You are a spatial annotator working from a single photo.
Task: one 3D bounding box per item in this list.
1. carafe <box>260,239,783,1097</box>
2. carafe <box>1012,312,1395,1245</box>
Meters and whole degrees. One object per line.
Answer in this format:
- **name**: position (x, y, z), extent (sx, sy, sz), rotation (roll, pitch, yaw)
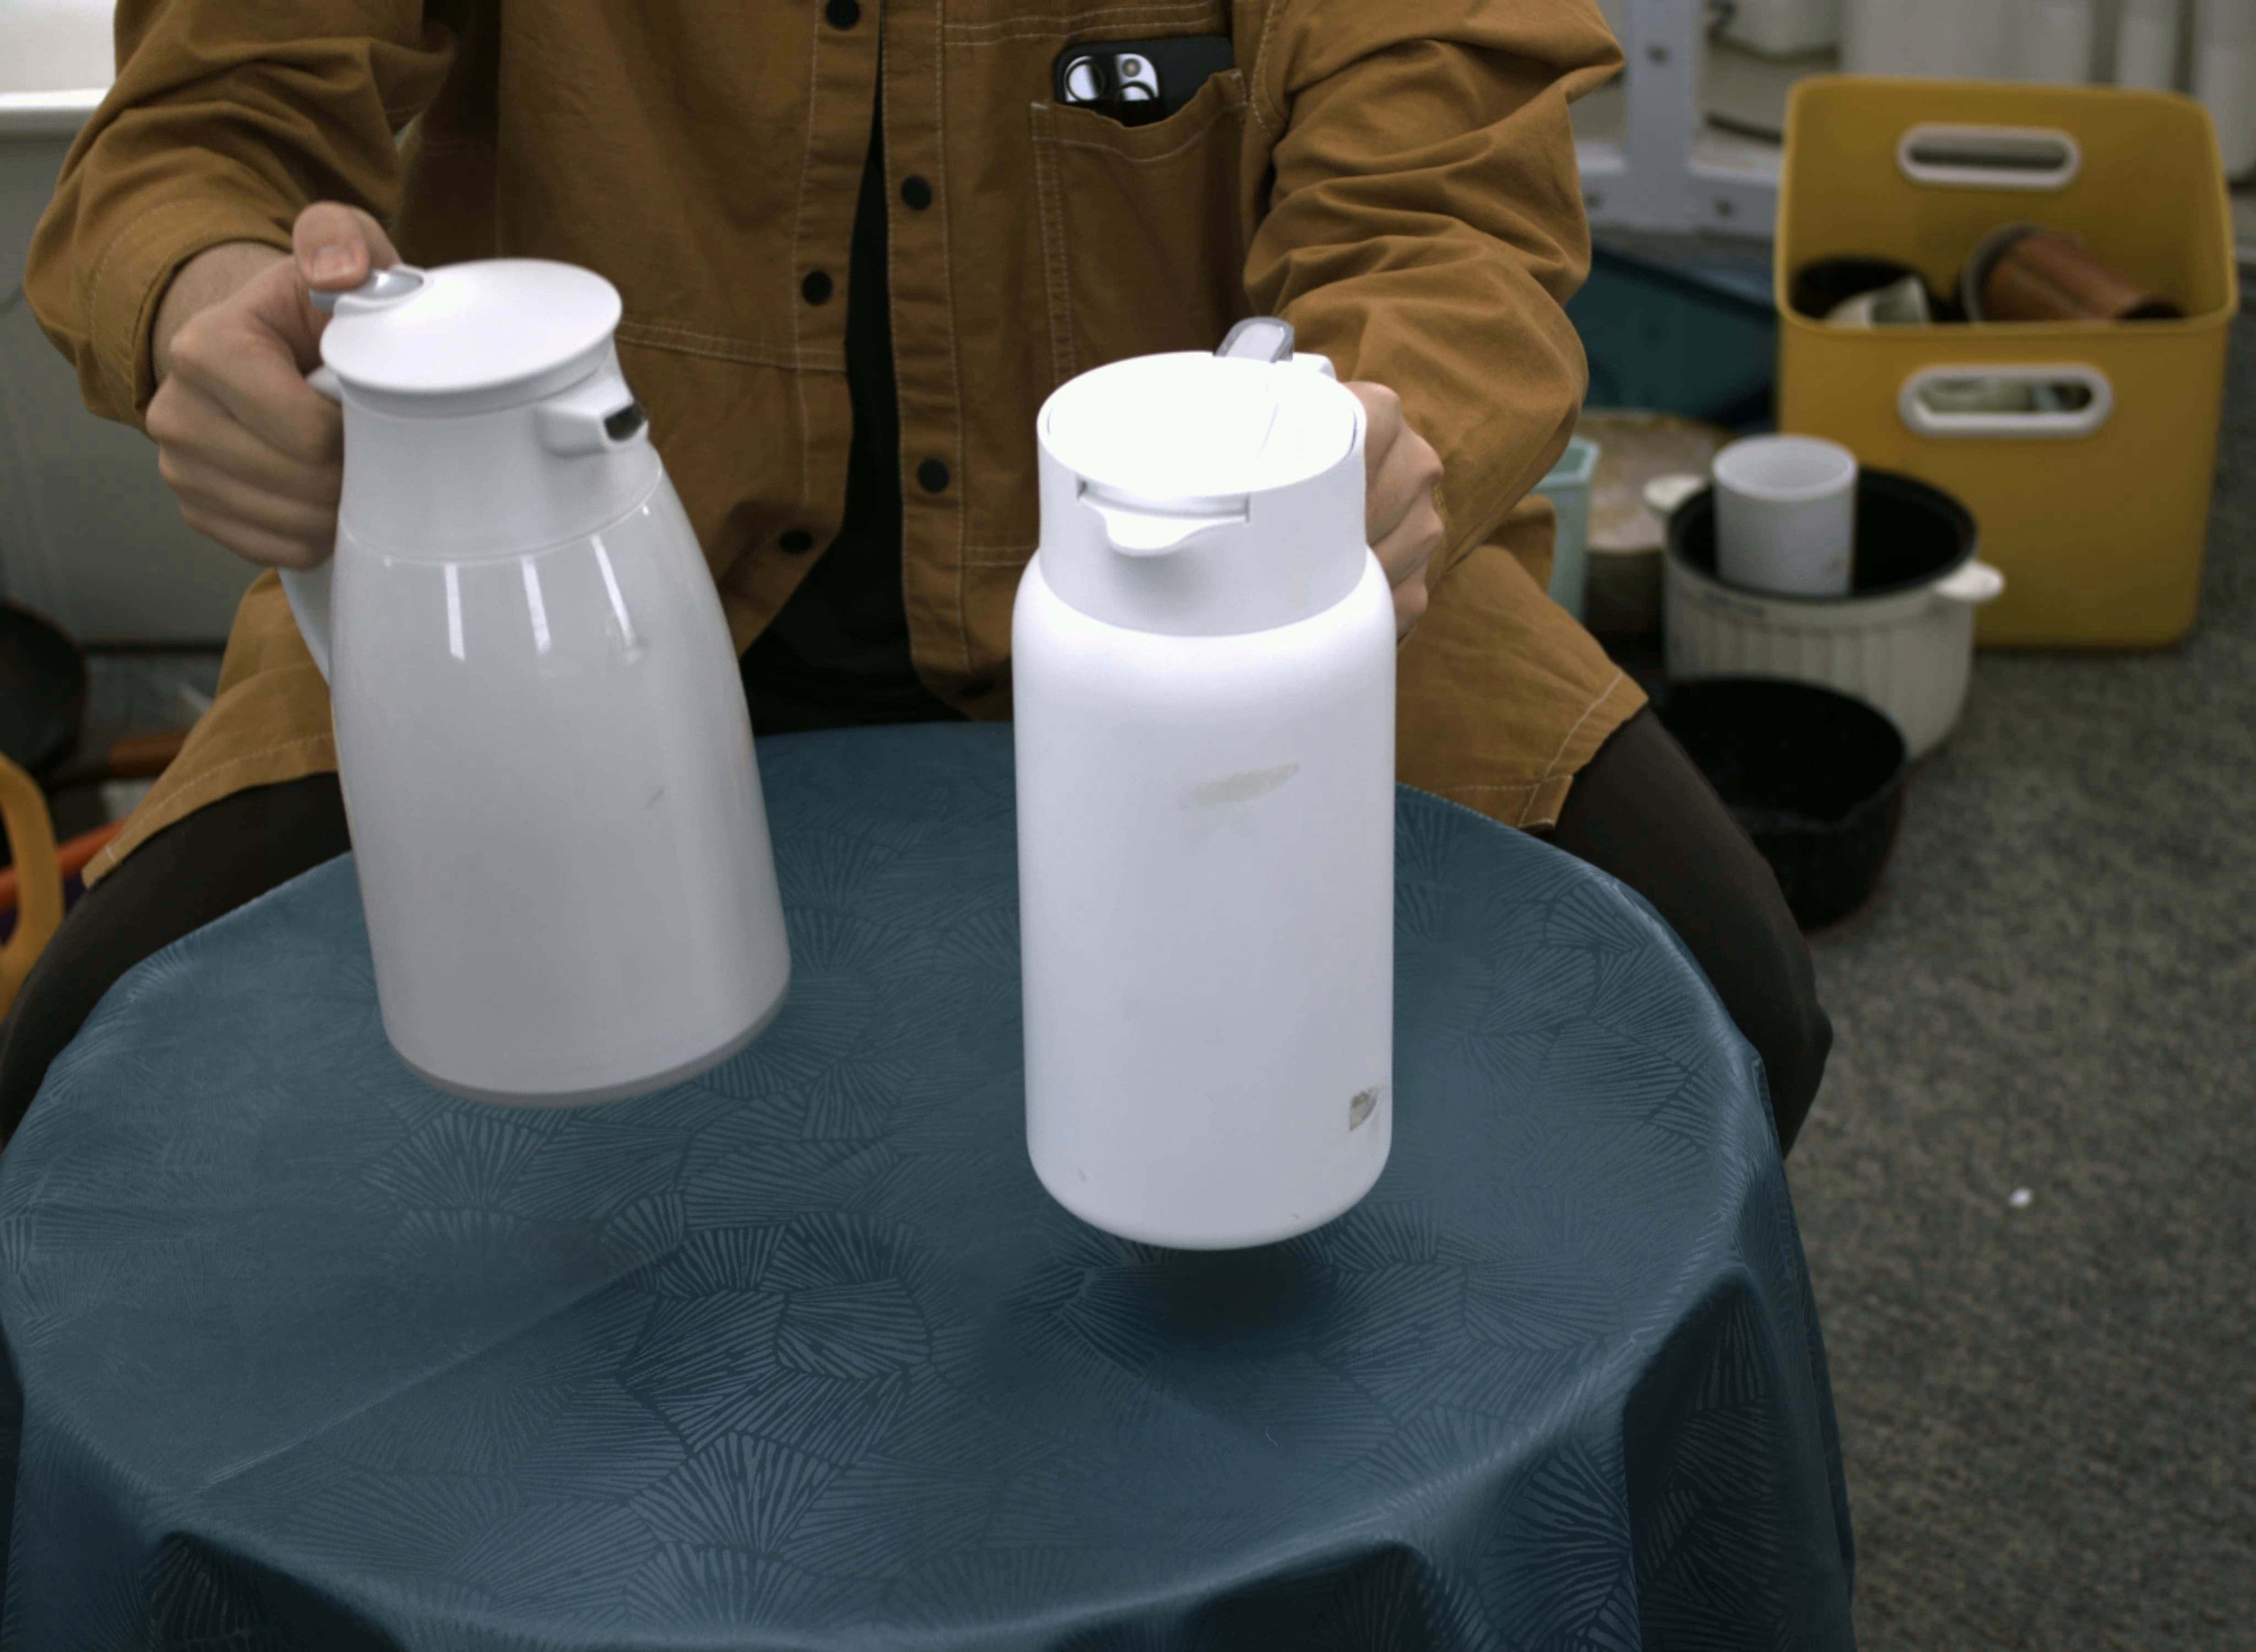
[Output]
- **carafe**: position (-0.201, -0.059, 1.754), extent (0.167, 0.246, 0.134), rotation (15, 34, 36)
- **carafe**: position (0.027, -0.018, 1.750), extent (0.123, 0.266, 0.176), rotation (5, 28, 16)
